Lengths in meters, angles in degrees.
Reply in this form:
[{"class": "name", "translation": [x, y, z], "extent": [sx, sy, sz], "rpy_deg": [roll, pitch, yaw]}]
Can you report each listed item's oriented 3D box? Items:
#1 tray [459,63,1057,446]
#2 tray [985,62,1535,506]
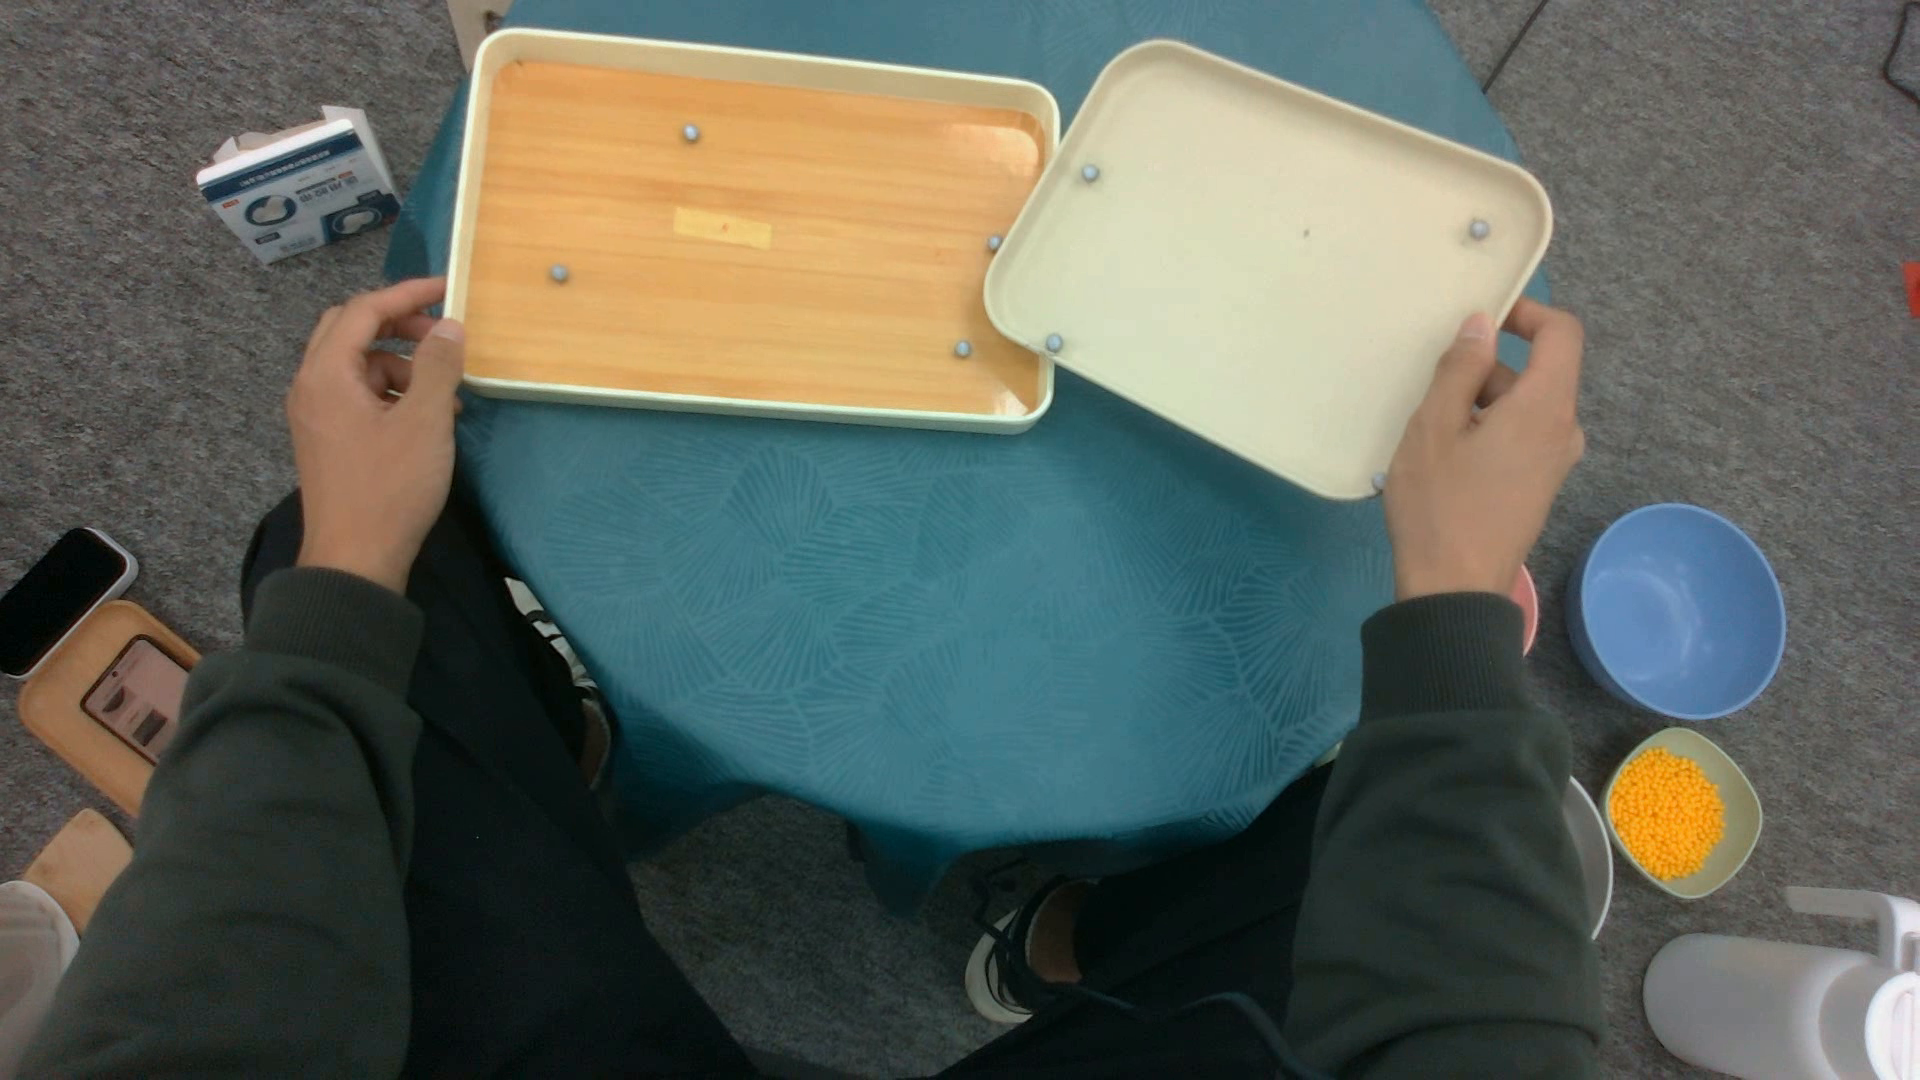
[{"class": "tray", "translation": [-0.099, -0.149, 0.724], "extent": [0.300, 0.027, 0.192], "rpy_deg": [3, 77, -6]}, {"class": "tray", "translation": [0.138, -0.130, 0.675], "extent": [0.239, 0.017, 0.171], "rpy_deg": [30, 91, 27]}]
